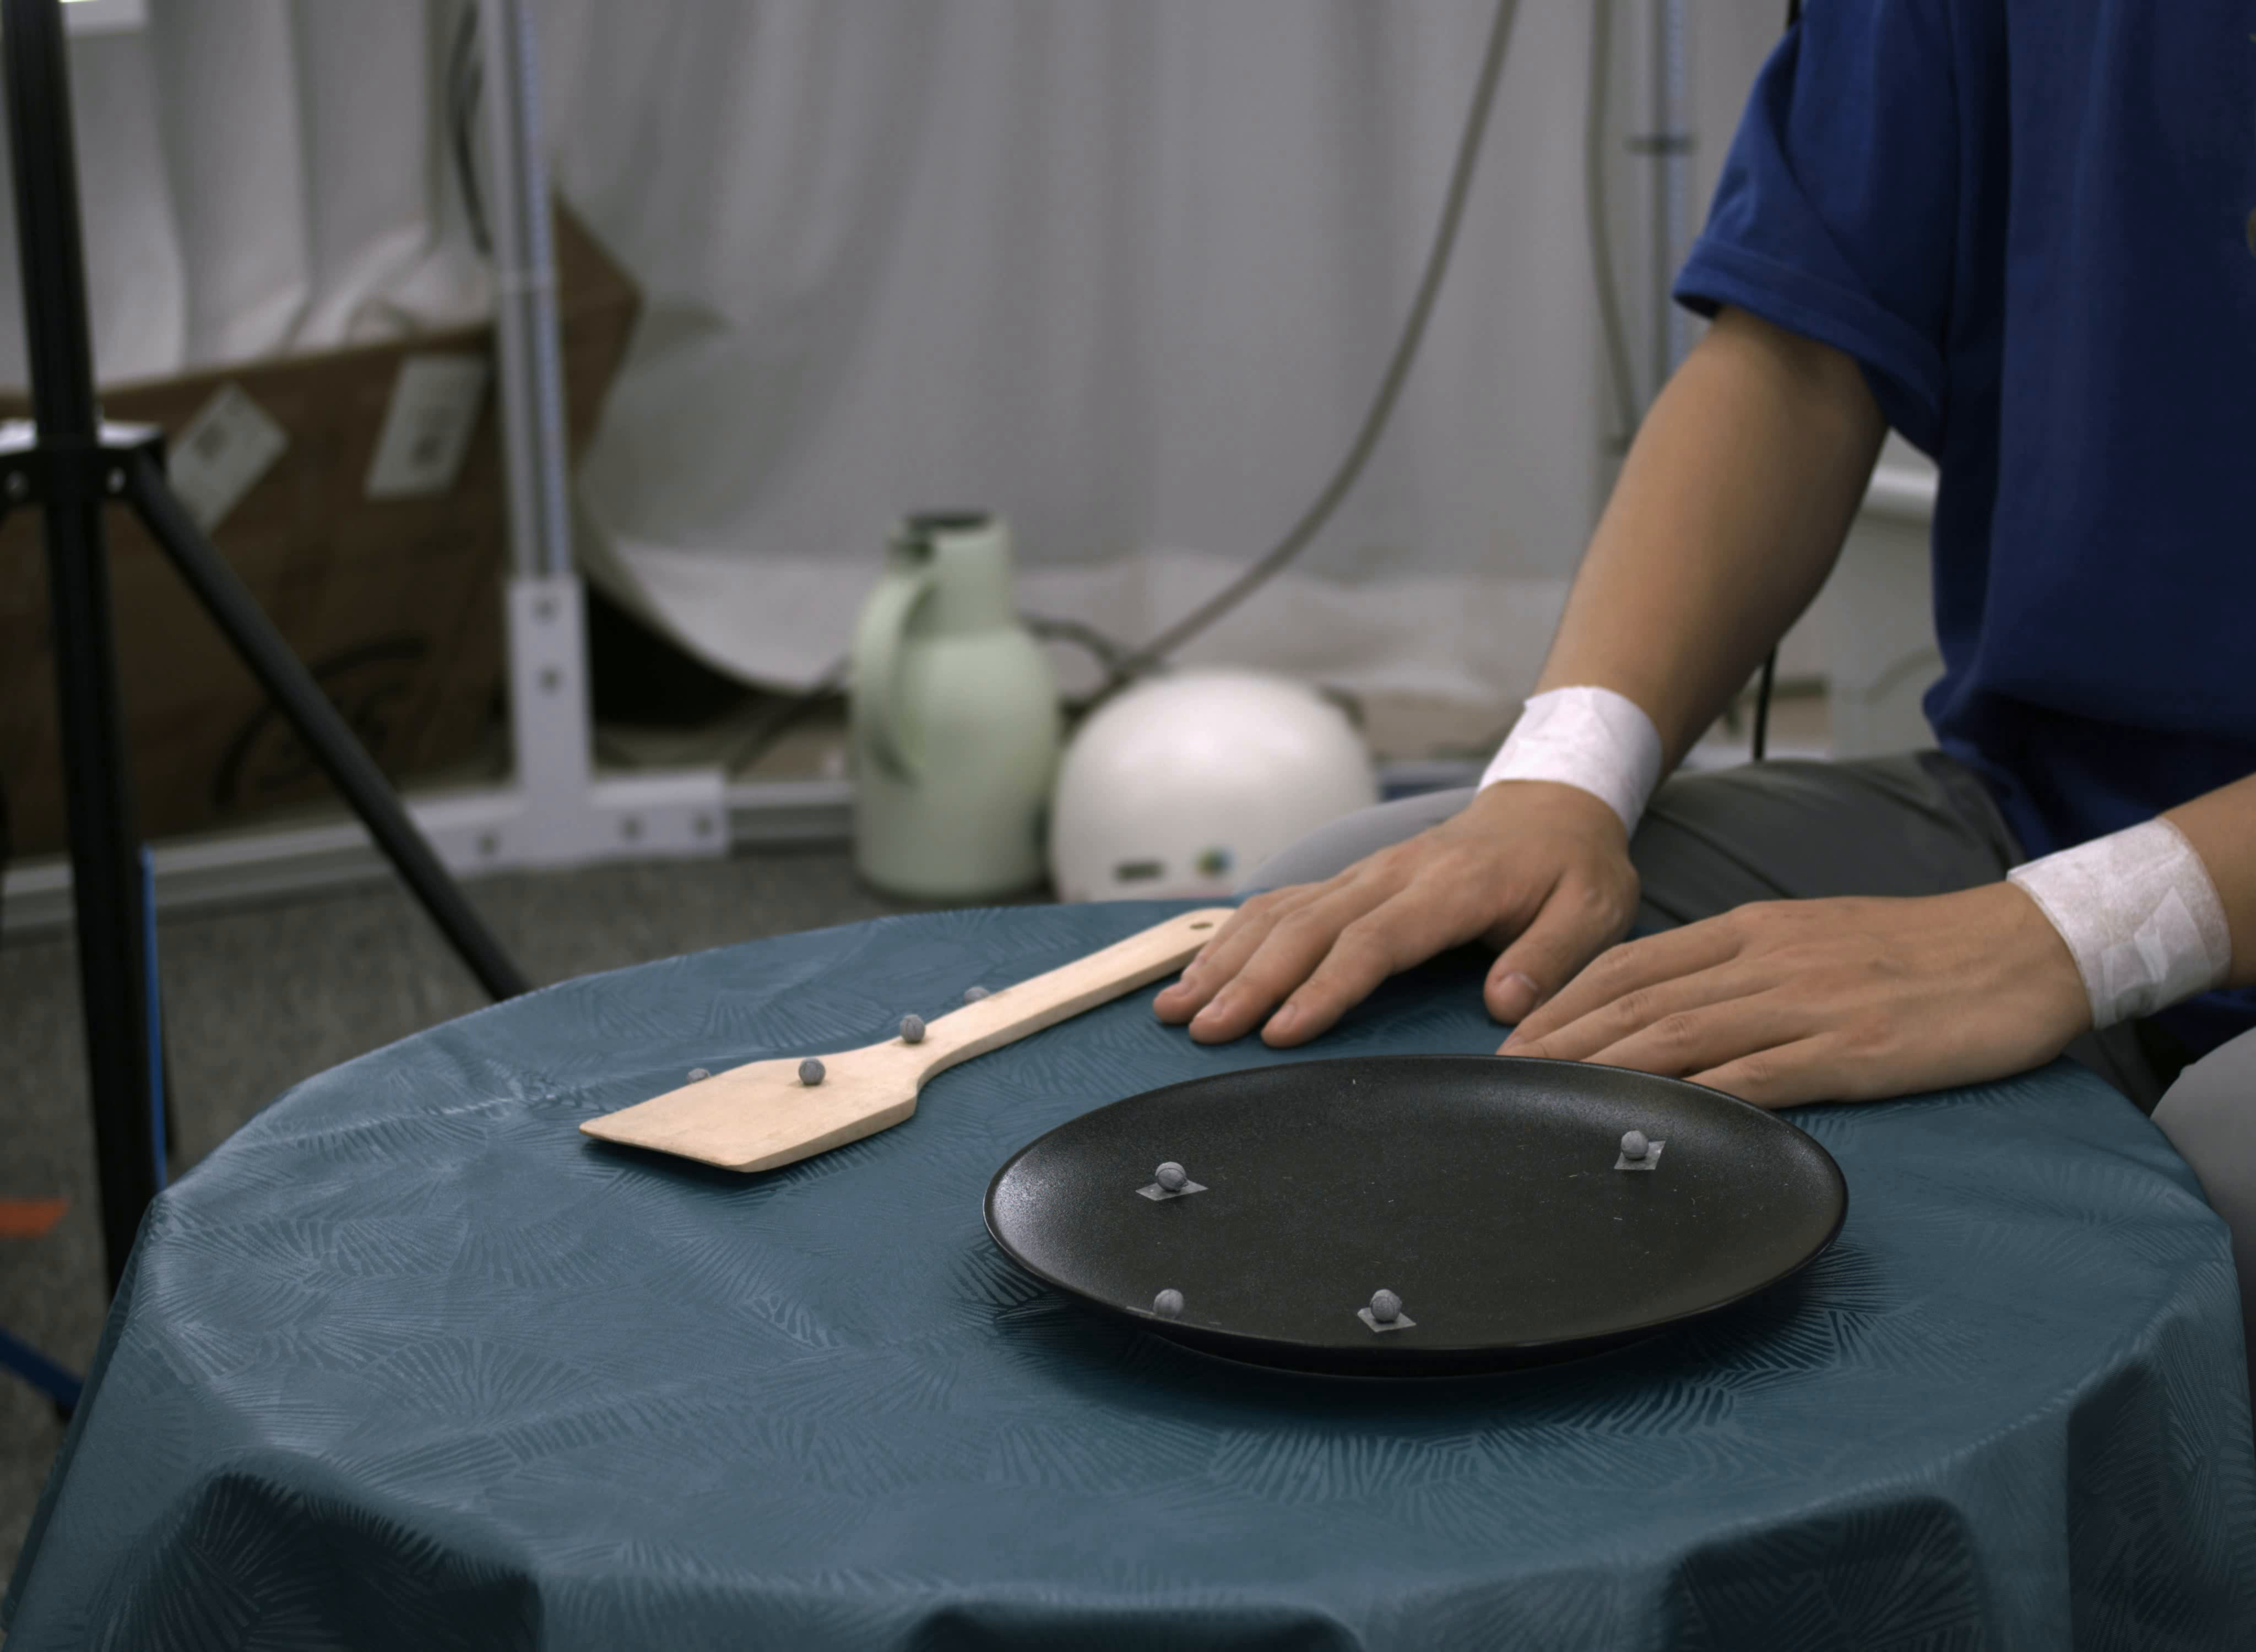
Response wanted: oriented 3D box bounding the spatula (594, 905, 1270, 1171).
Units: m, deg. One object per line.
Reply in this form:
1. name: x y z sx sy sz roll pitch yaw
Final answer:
1. spatula: -0.049 0.065 1.702 0.074 0.010 0.287 9 20 38

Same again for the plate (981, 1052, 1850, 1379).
1. plate: 0.080 0.112 1.488 0.243 0.023 0.245 -3 16 -1
